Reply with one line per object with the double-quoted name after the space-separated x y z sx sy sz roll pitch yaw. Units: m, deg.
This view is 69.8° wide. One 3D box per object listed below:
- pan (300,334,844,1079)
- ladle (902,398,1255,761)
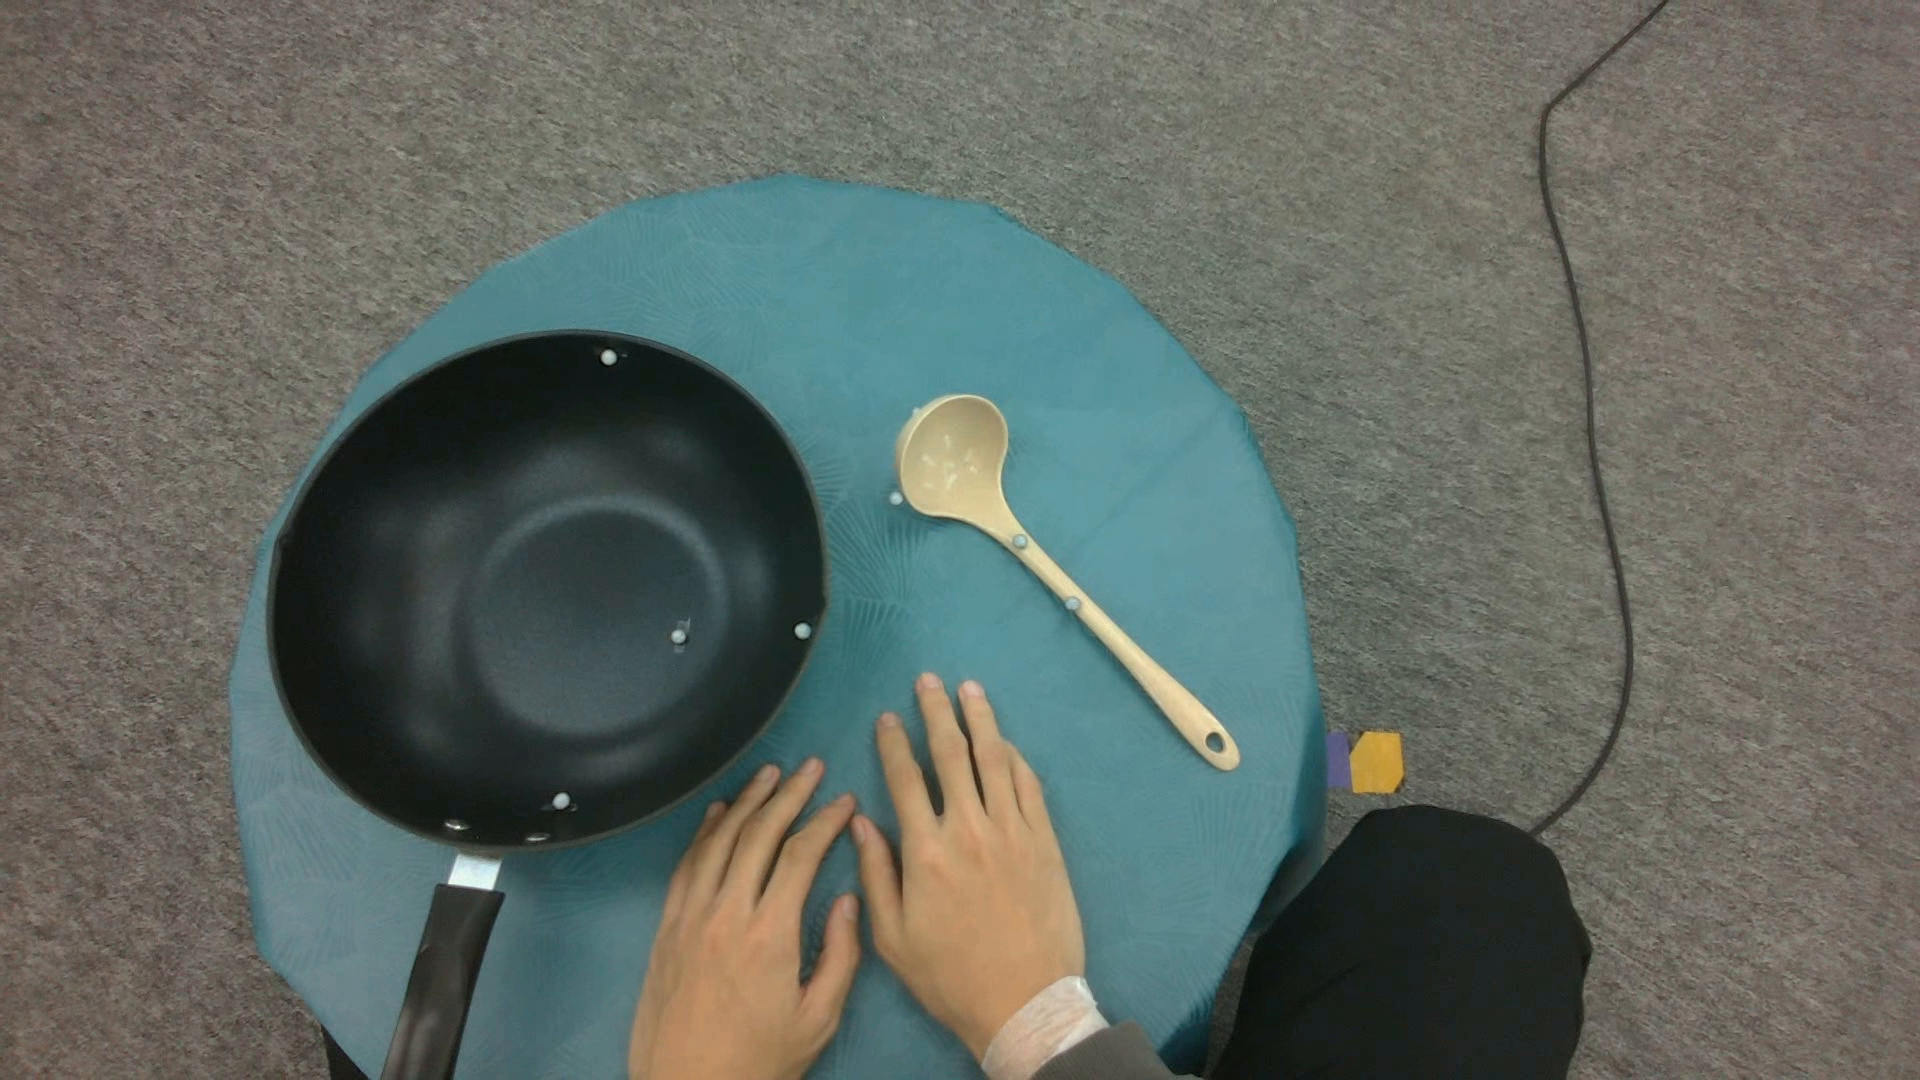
-0.215 0.116 0.718 0.288 0.086 0.465 7 71 5 "pan"
0.069 0.020 0.749 0.072 0.072 0.254 -41 72 -15 "ladle"
